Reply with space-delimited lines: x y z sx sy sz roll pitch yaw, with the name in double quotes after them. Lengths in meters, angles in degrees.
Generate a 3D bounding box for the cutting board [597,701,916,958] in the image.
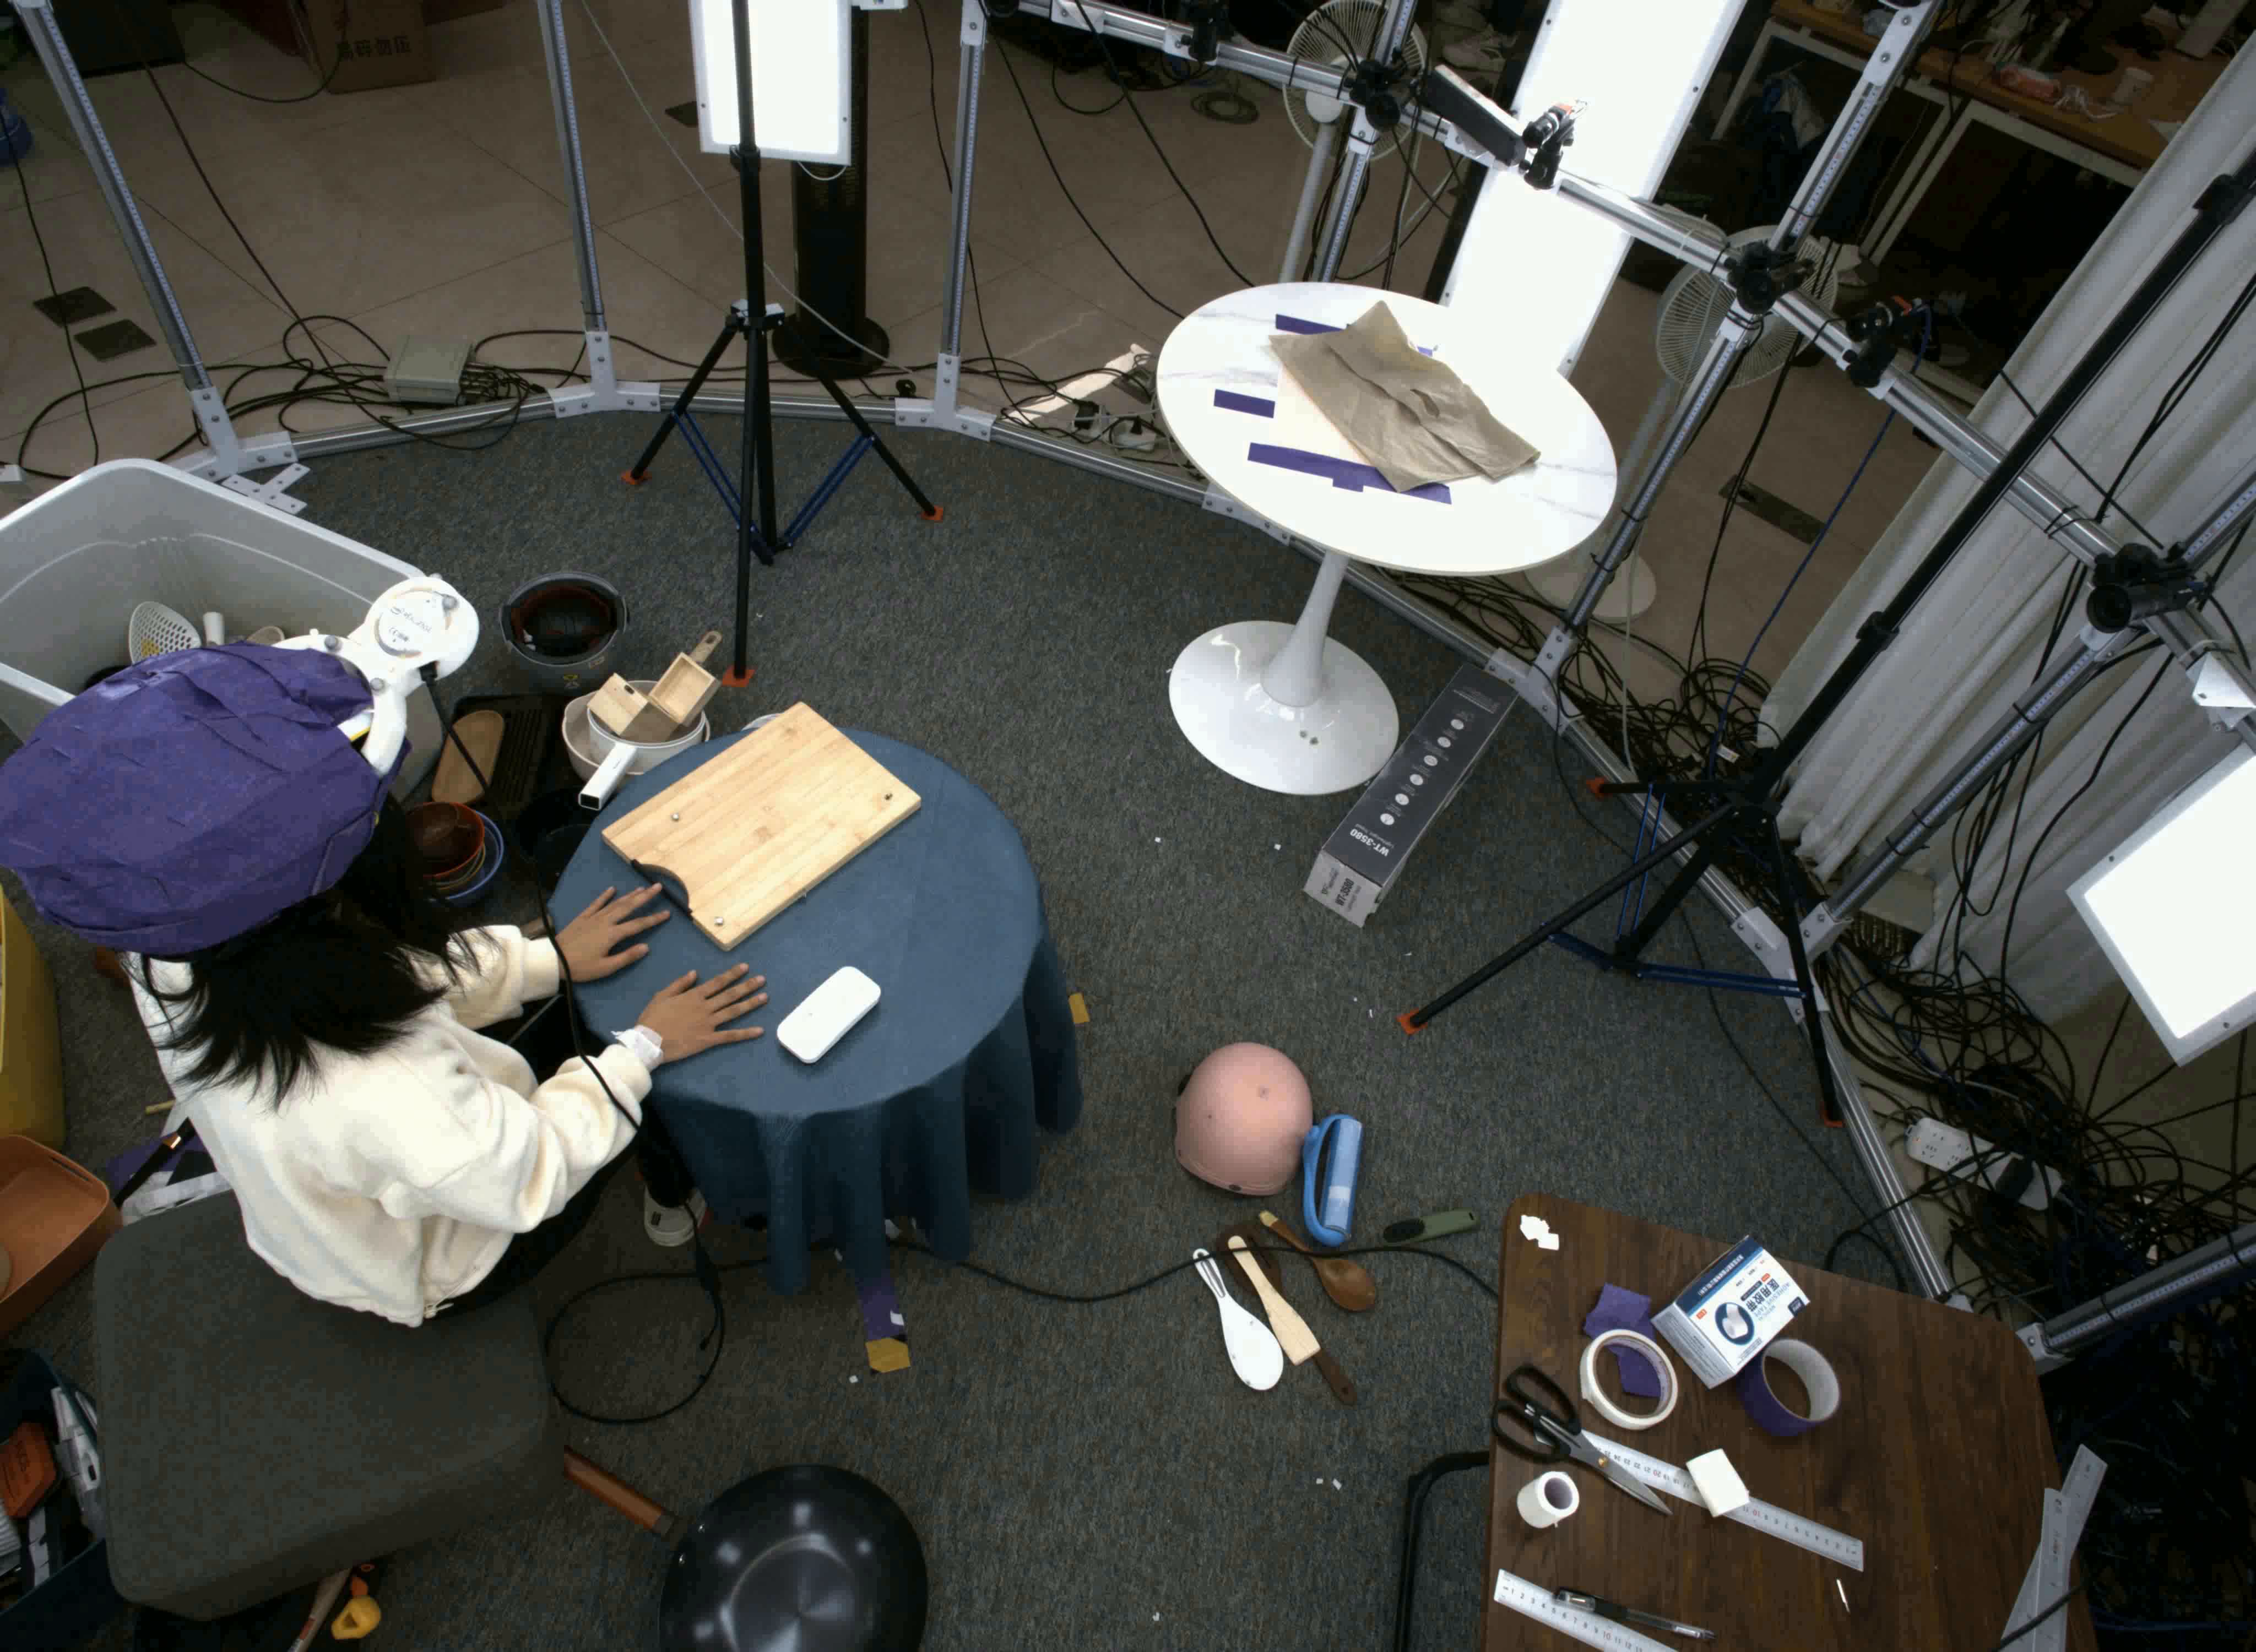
-0.483 -0.007 1.699 0.246 0.024 0.348 37 54 14 "cutting board"

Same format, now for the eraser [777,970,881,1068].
-0.357 0.225 1.549 0.062 0.035 0.131 35 52 14 "eraser"
